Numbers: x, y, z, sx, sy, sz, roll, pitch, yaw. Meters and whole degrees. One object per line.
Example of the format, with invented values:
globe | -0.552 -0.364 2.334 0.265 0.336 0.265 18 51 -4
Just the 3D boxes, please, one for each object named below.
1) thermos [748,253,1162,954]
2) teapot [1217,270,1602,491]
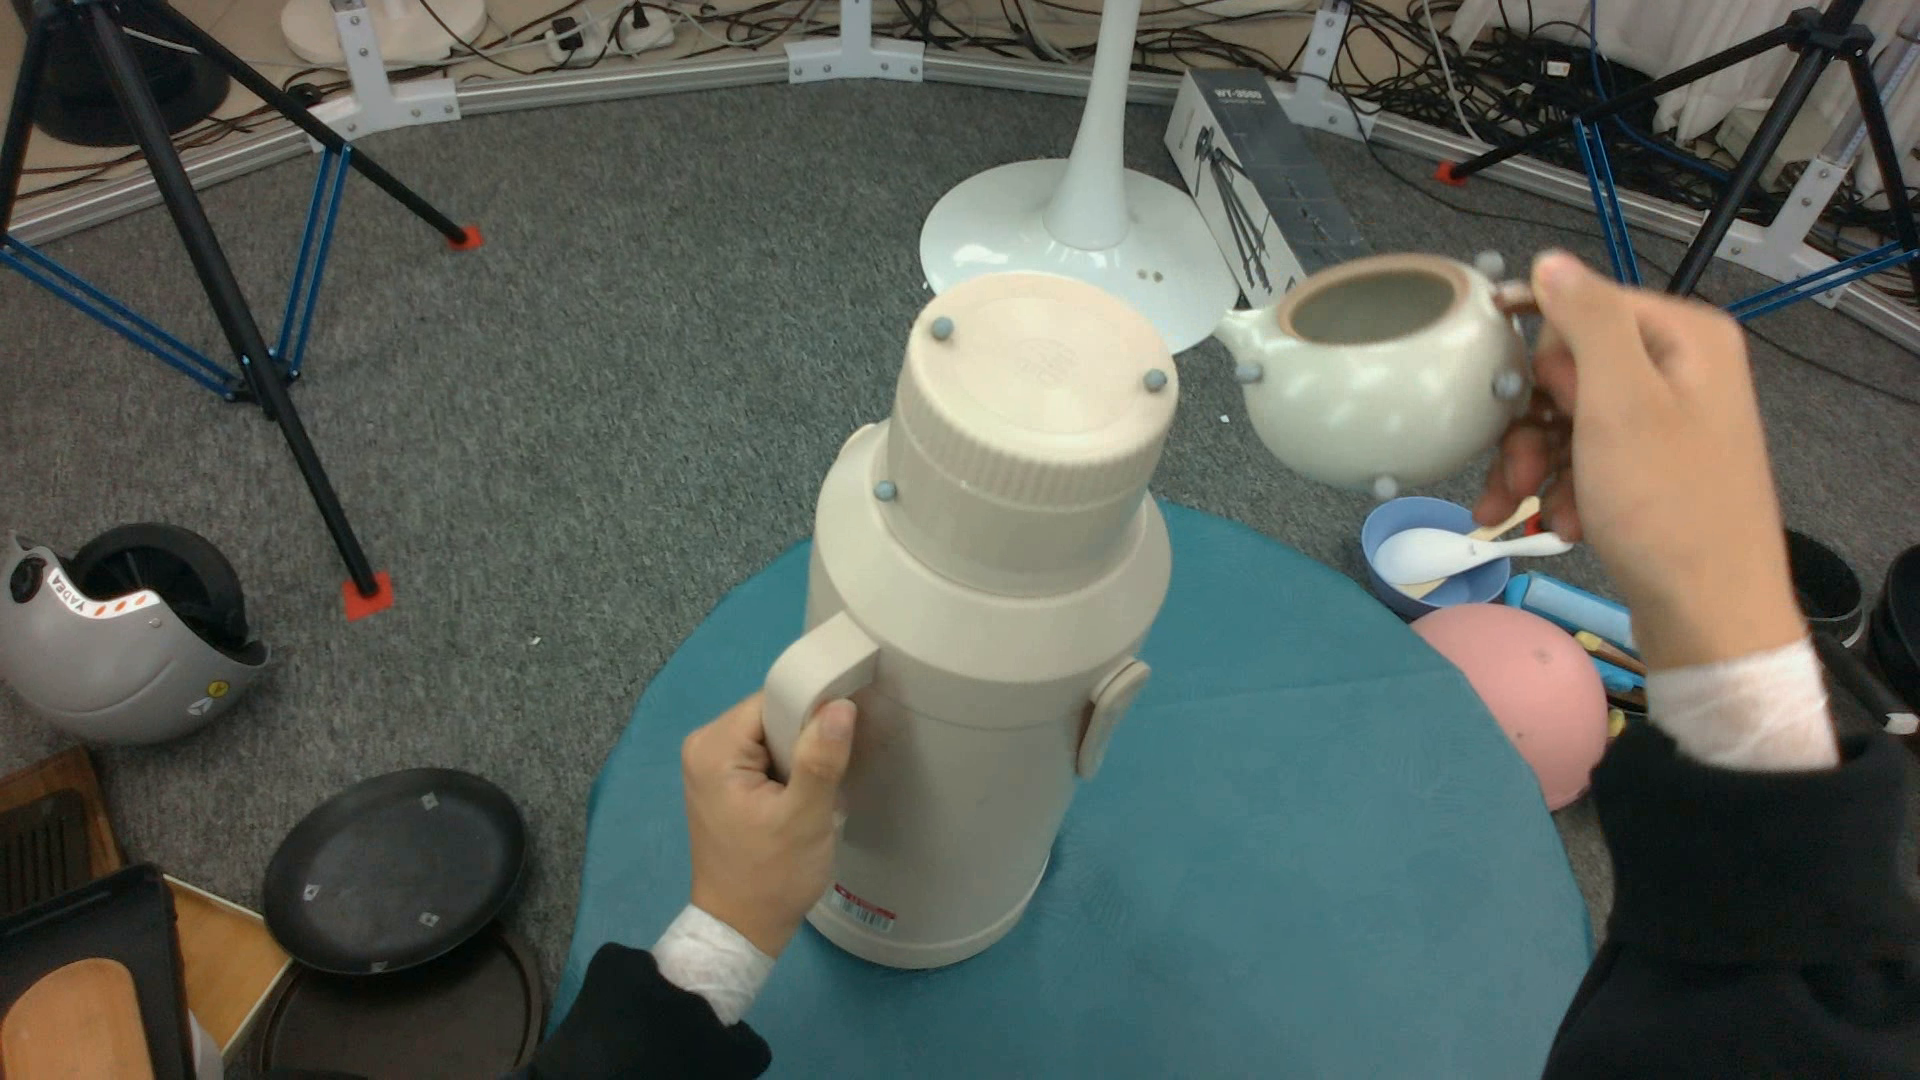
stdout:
thermos | -0.017 0.056 0.662 0.175 0.404 0.208 42 55 20
teapot | 0.155 -0.056 0.484 0.128 0.059 0.092 3 37 23
